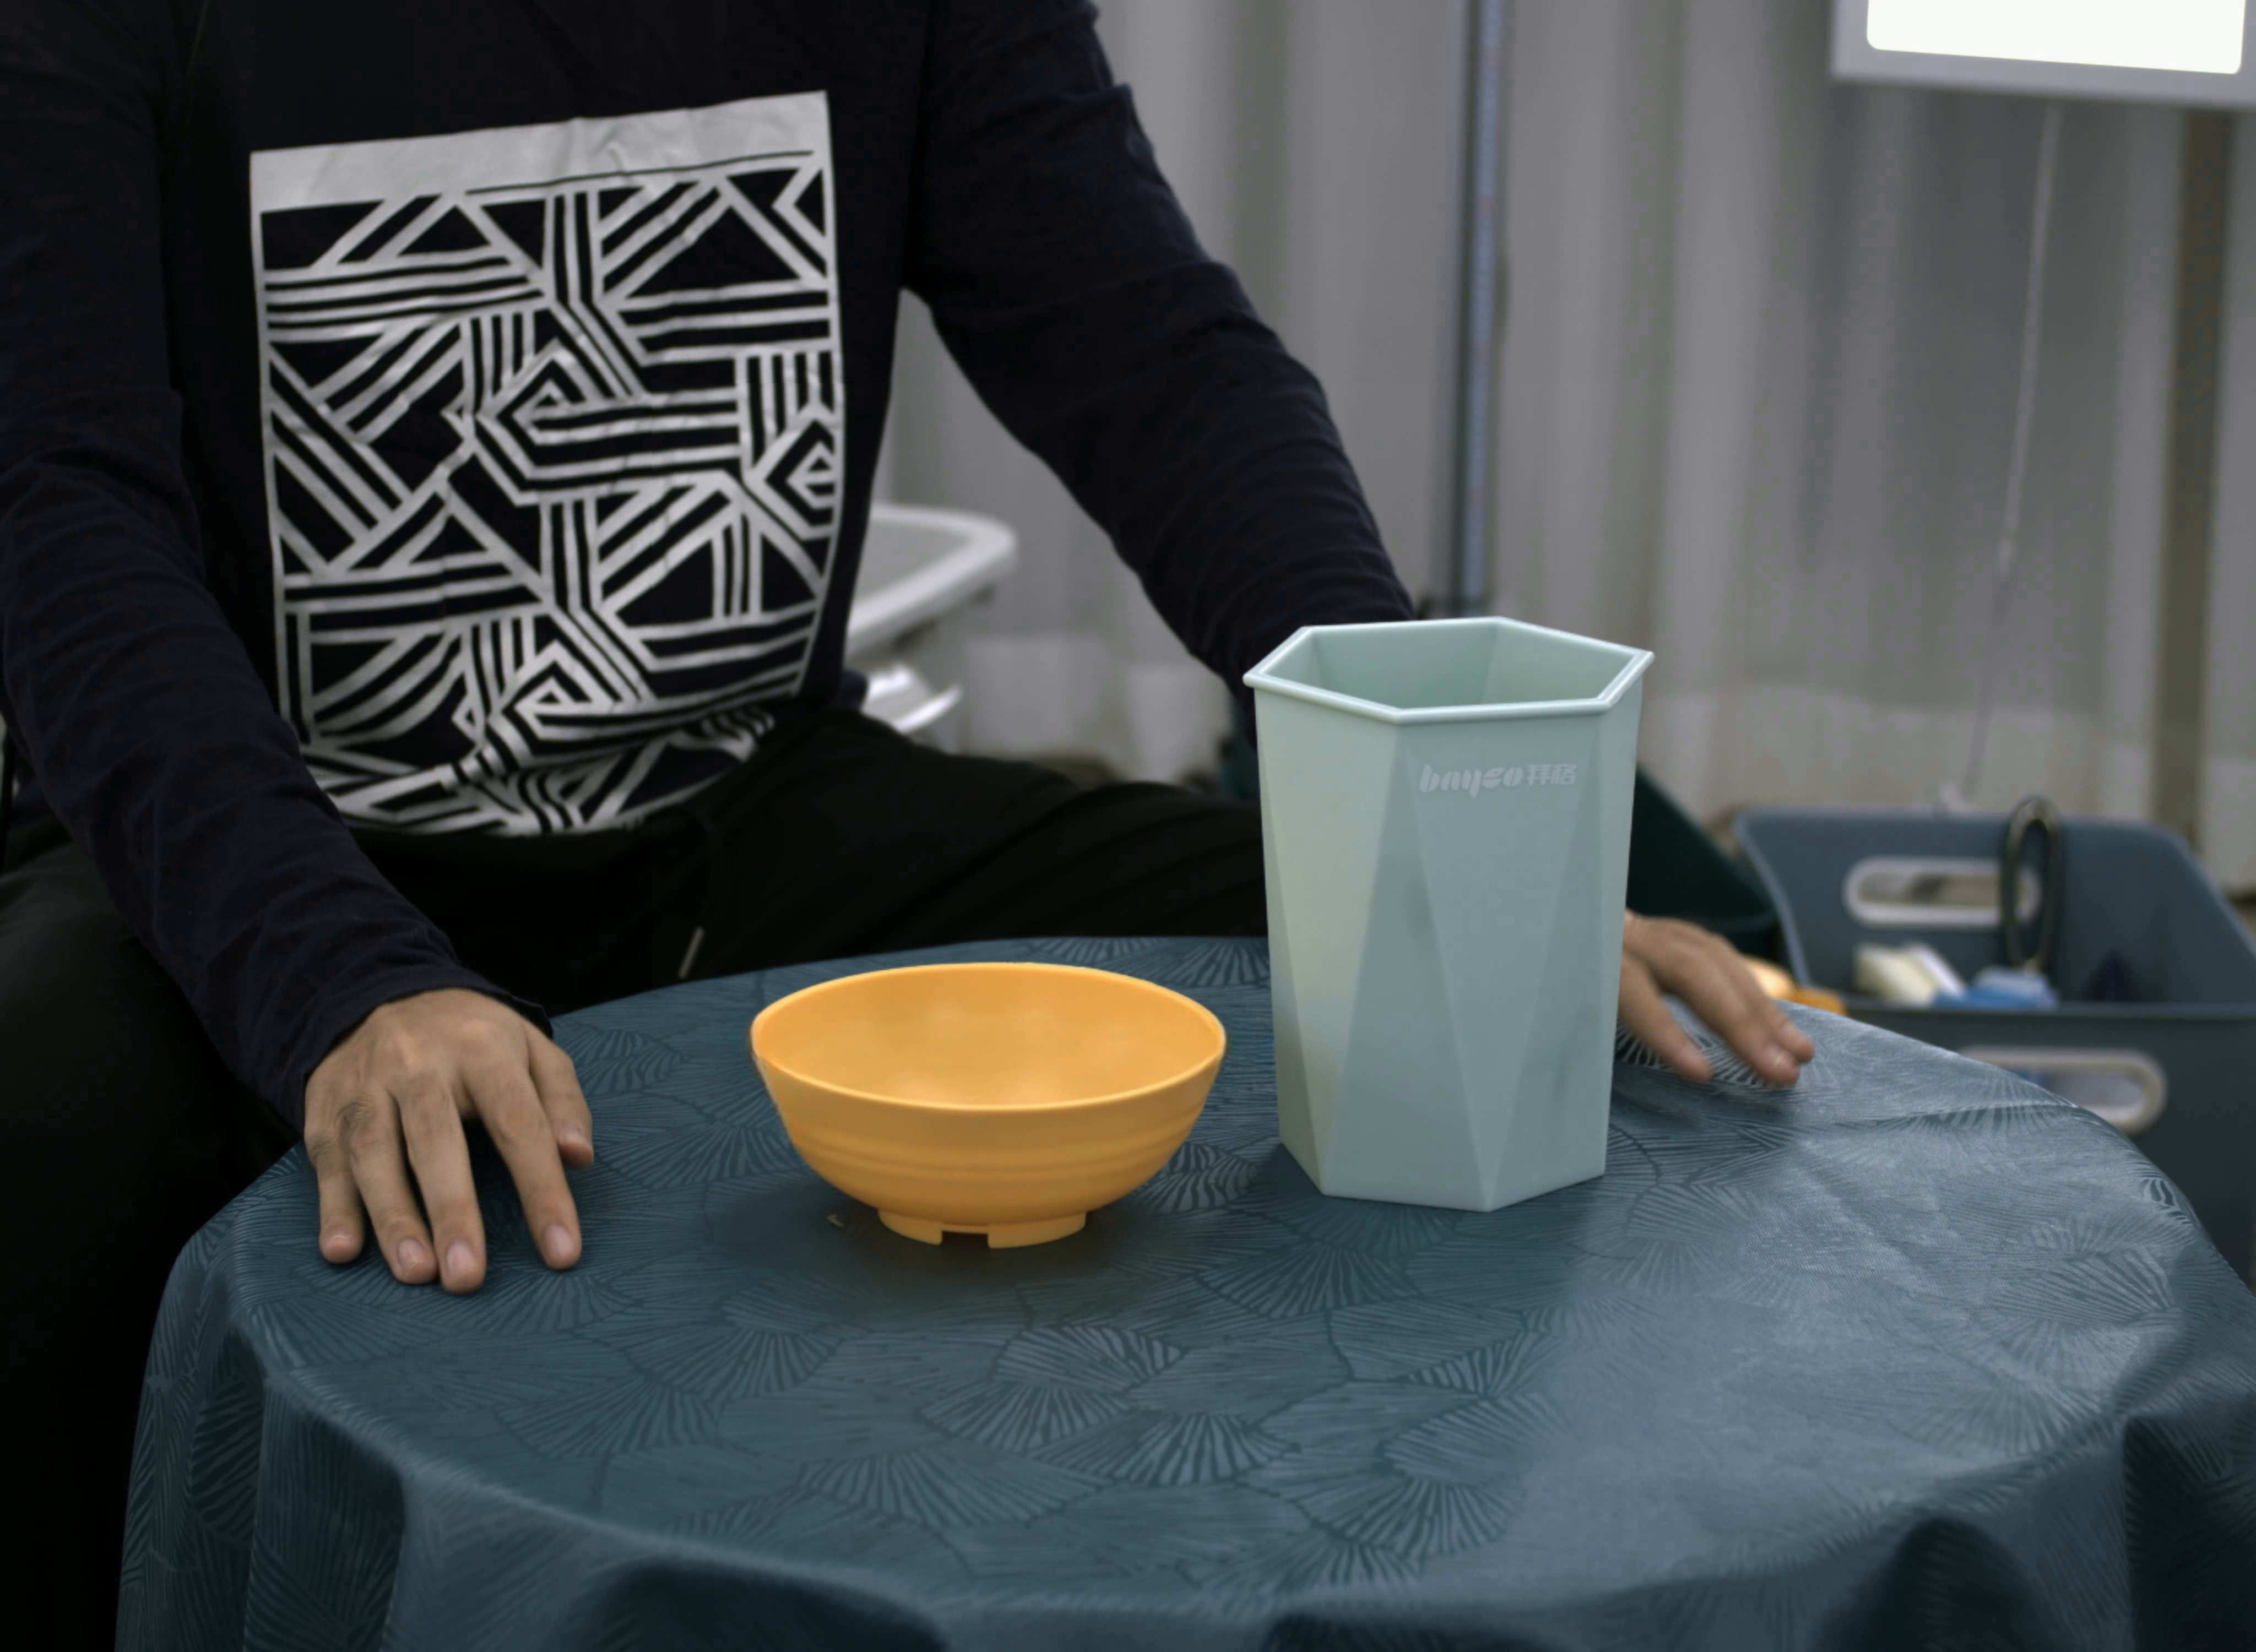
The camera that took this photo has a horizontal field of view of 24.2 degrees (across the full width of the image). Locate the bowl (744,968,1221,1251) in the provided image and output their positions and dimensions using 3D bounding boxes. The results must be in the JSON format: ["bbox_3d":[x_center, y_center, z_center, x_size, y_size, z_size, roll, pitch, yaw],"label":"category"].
[{"bbox_3d":[-0.044,0.091,1.596,0.145,0.060,0.144,1,14,0],"label":"bowl"}]

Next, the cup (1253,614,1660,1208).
[{"bbox_3d":[0.100,0.026,1.635,0.131,0.164,0.114,-3,15,-15],"label":"cup"}]
